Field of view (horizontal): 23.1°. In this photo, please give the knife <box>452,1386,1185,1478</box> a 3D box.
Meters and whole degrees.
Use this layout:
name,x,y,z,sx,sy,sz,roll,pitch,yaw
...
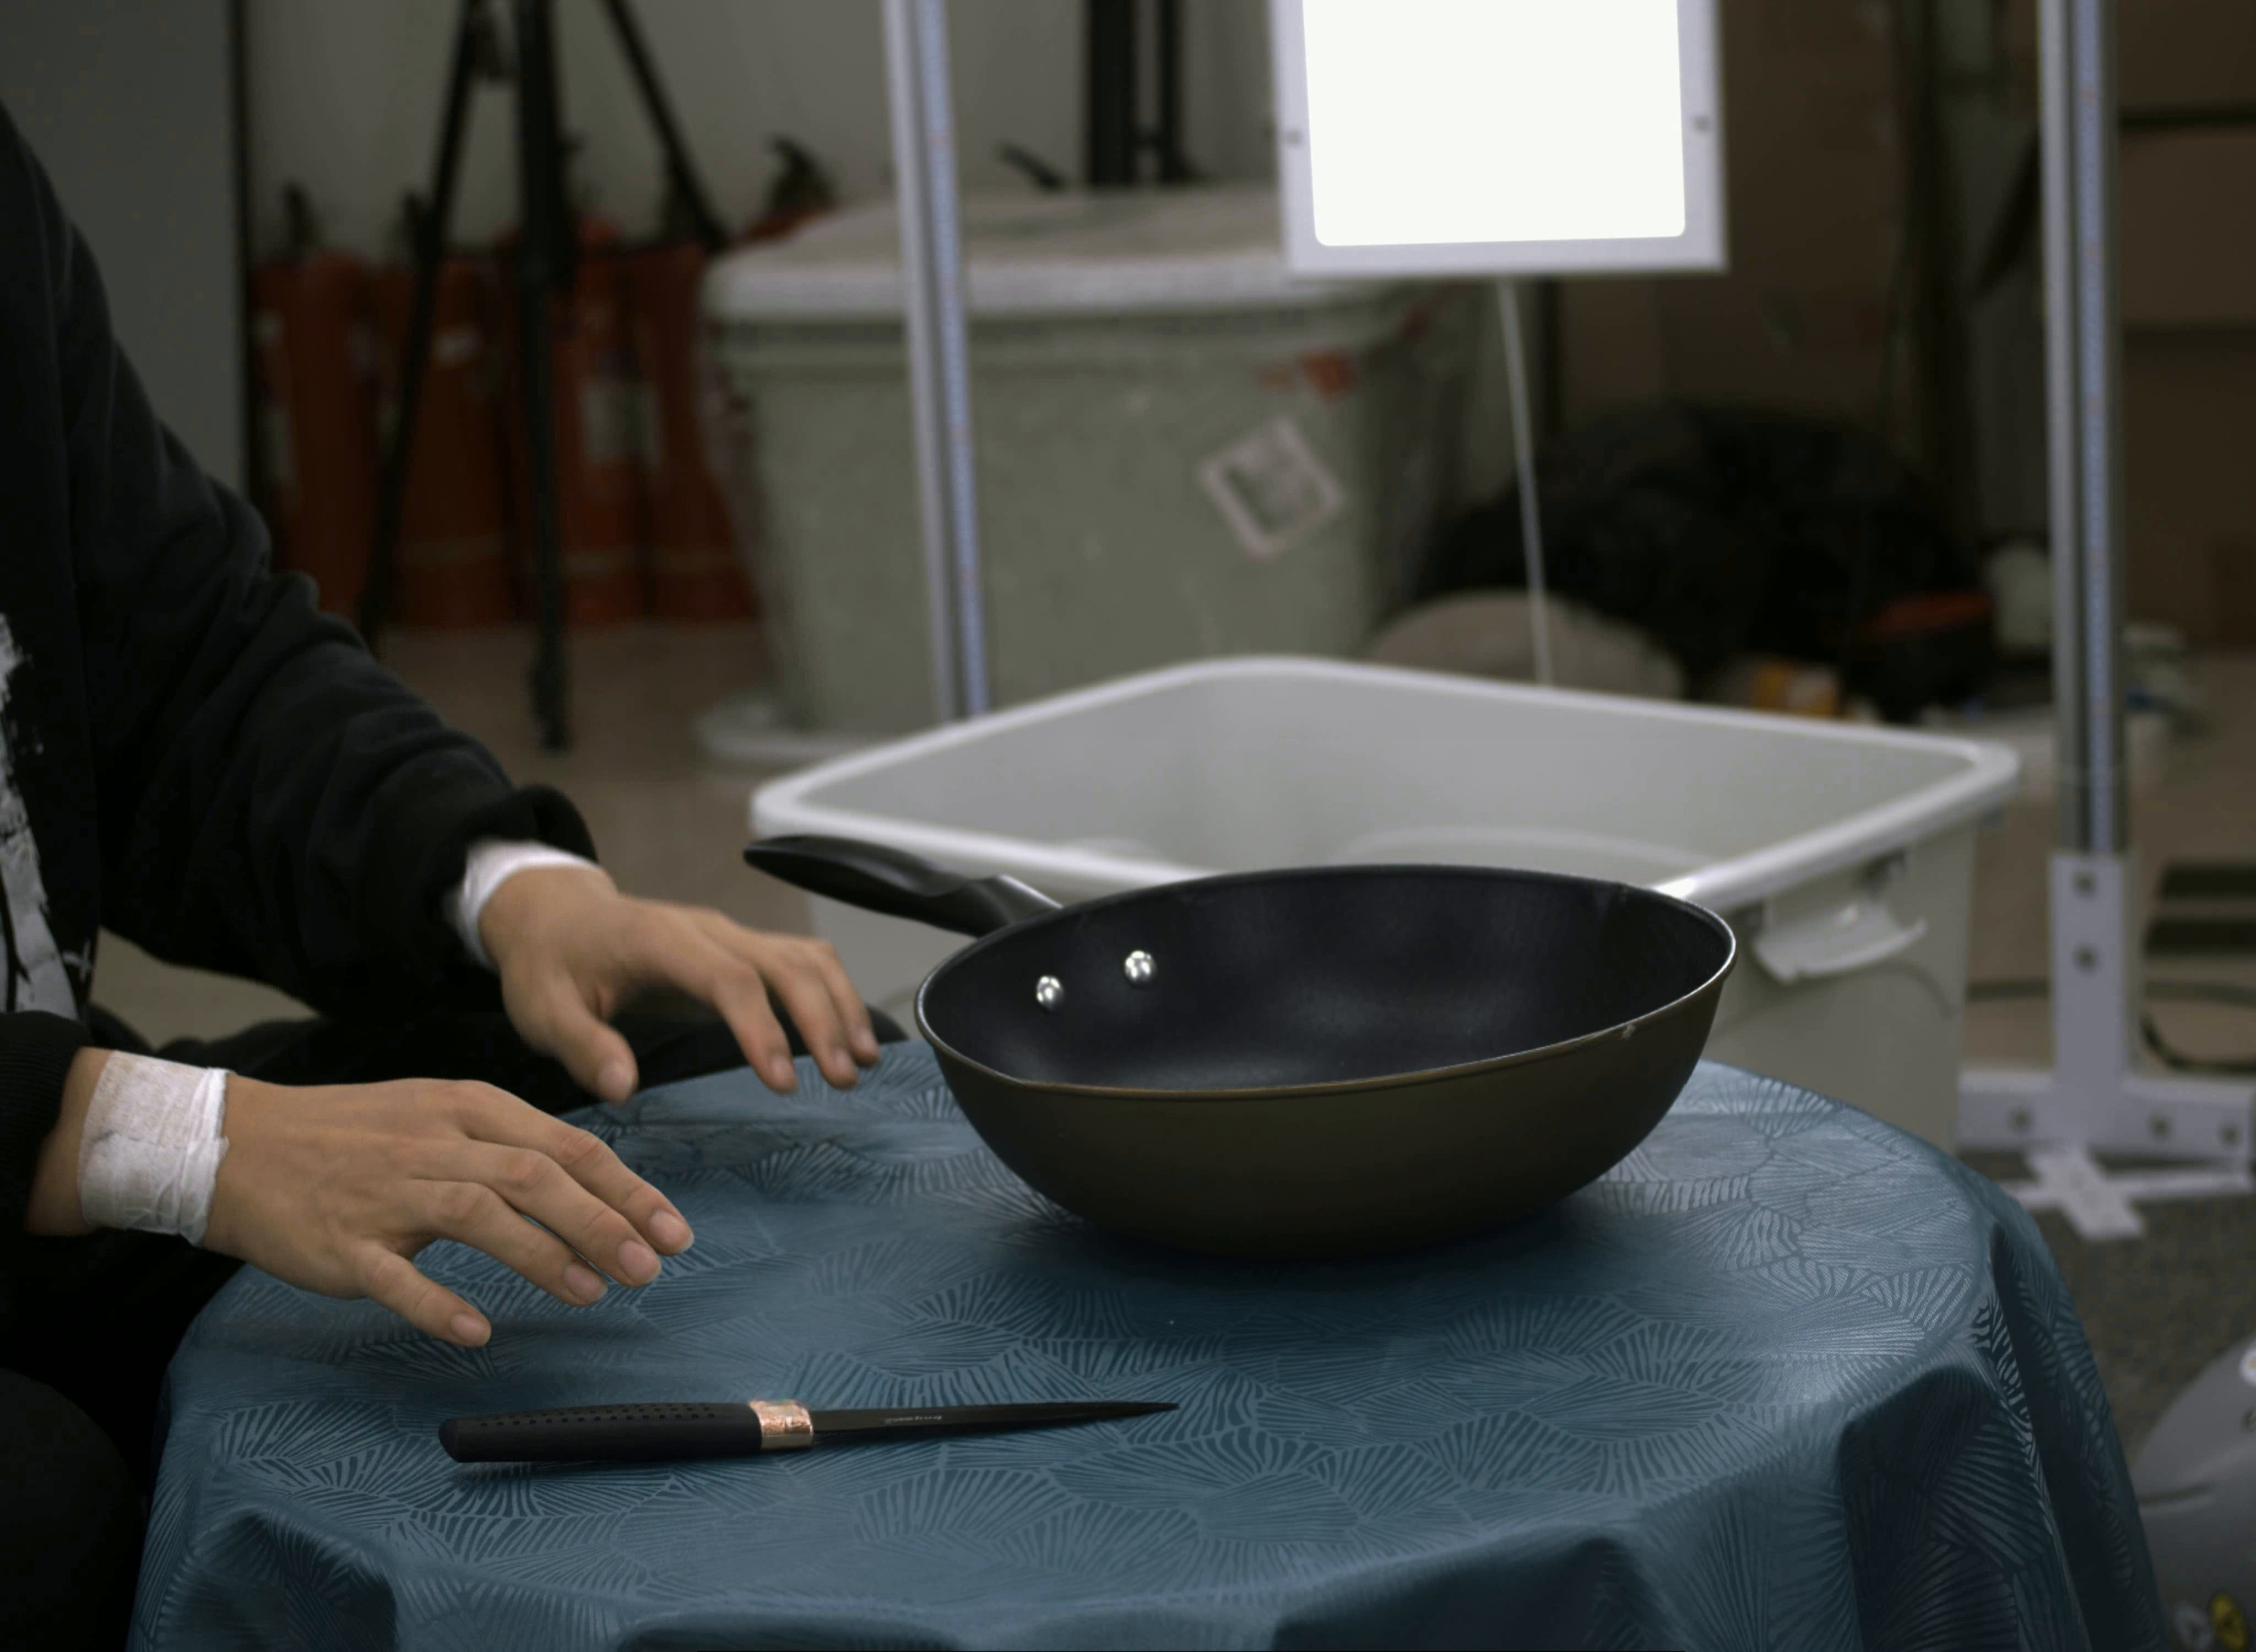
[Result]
name,x,y,z,sx,sy,sz,roll,pitch,yaw
knife,-0.094,0.183,1.686,0.225,0.017,0.026,-4,2,0

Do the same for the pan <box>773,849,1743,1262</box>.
name,x,y,z,sx,sy,sz,roll,pitch,yaw
pan,0.013,0.075,1.937,0.281,0.087,0.473,-15,16,-36
